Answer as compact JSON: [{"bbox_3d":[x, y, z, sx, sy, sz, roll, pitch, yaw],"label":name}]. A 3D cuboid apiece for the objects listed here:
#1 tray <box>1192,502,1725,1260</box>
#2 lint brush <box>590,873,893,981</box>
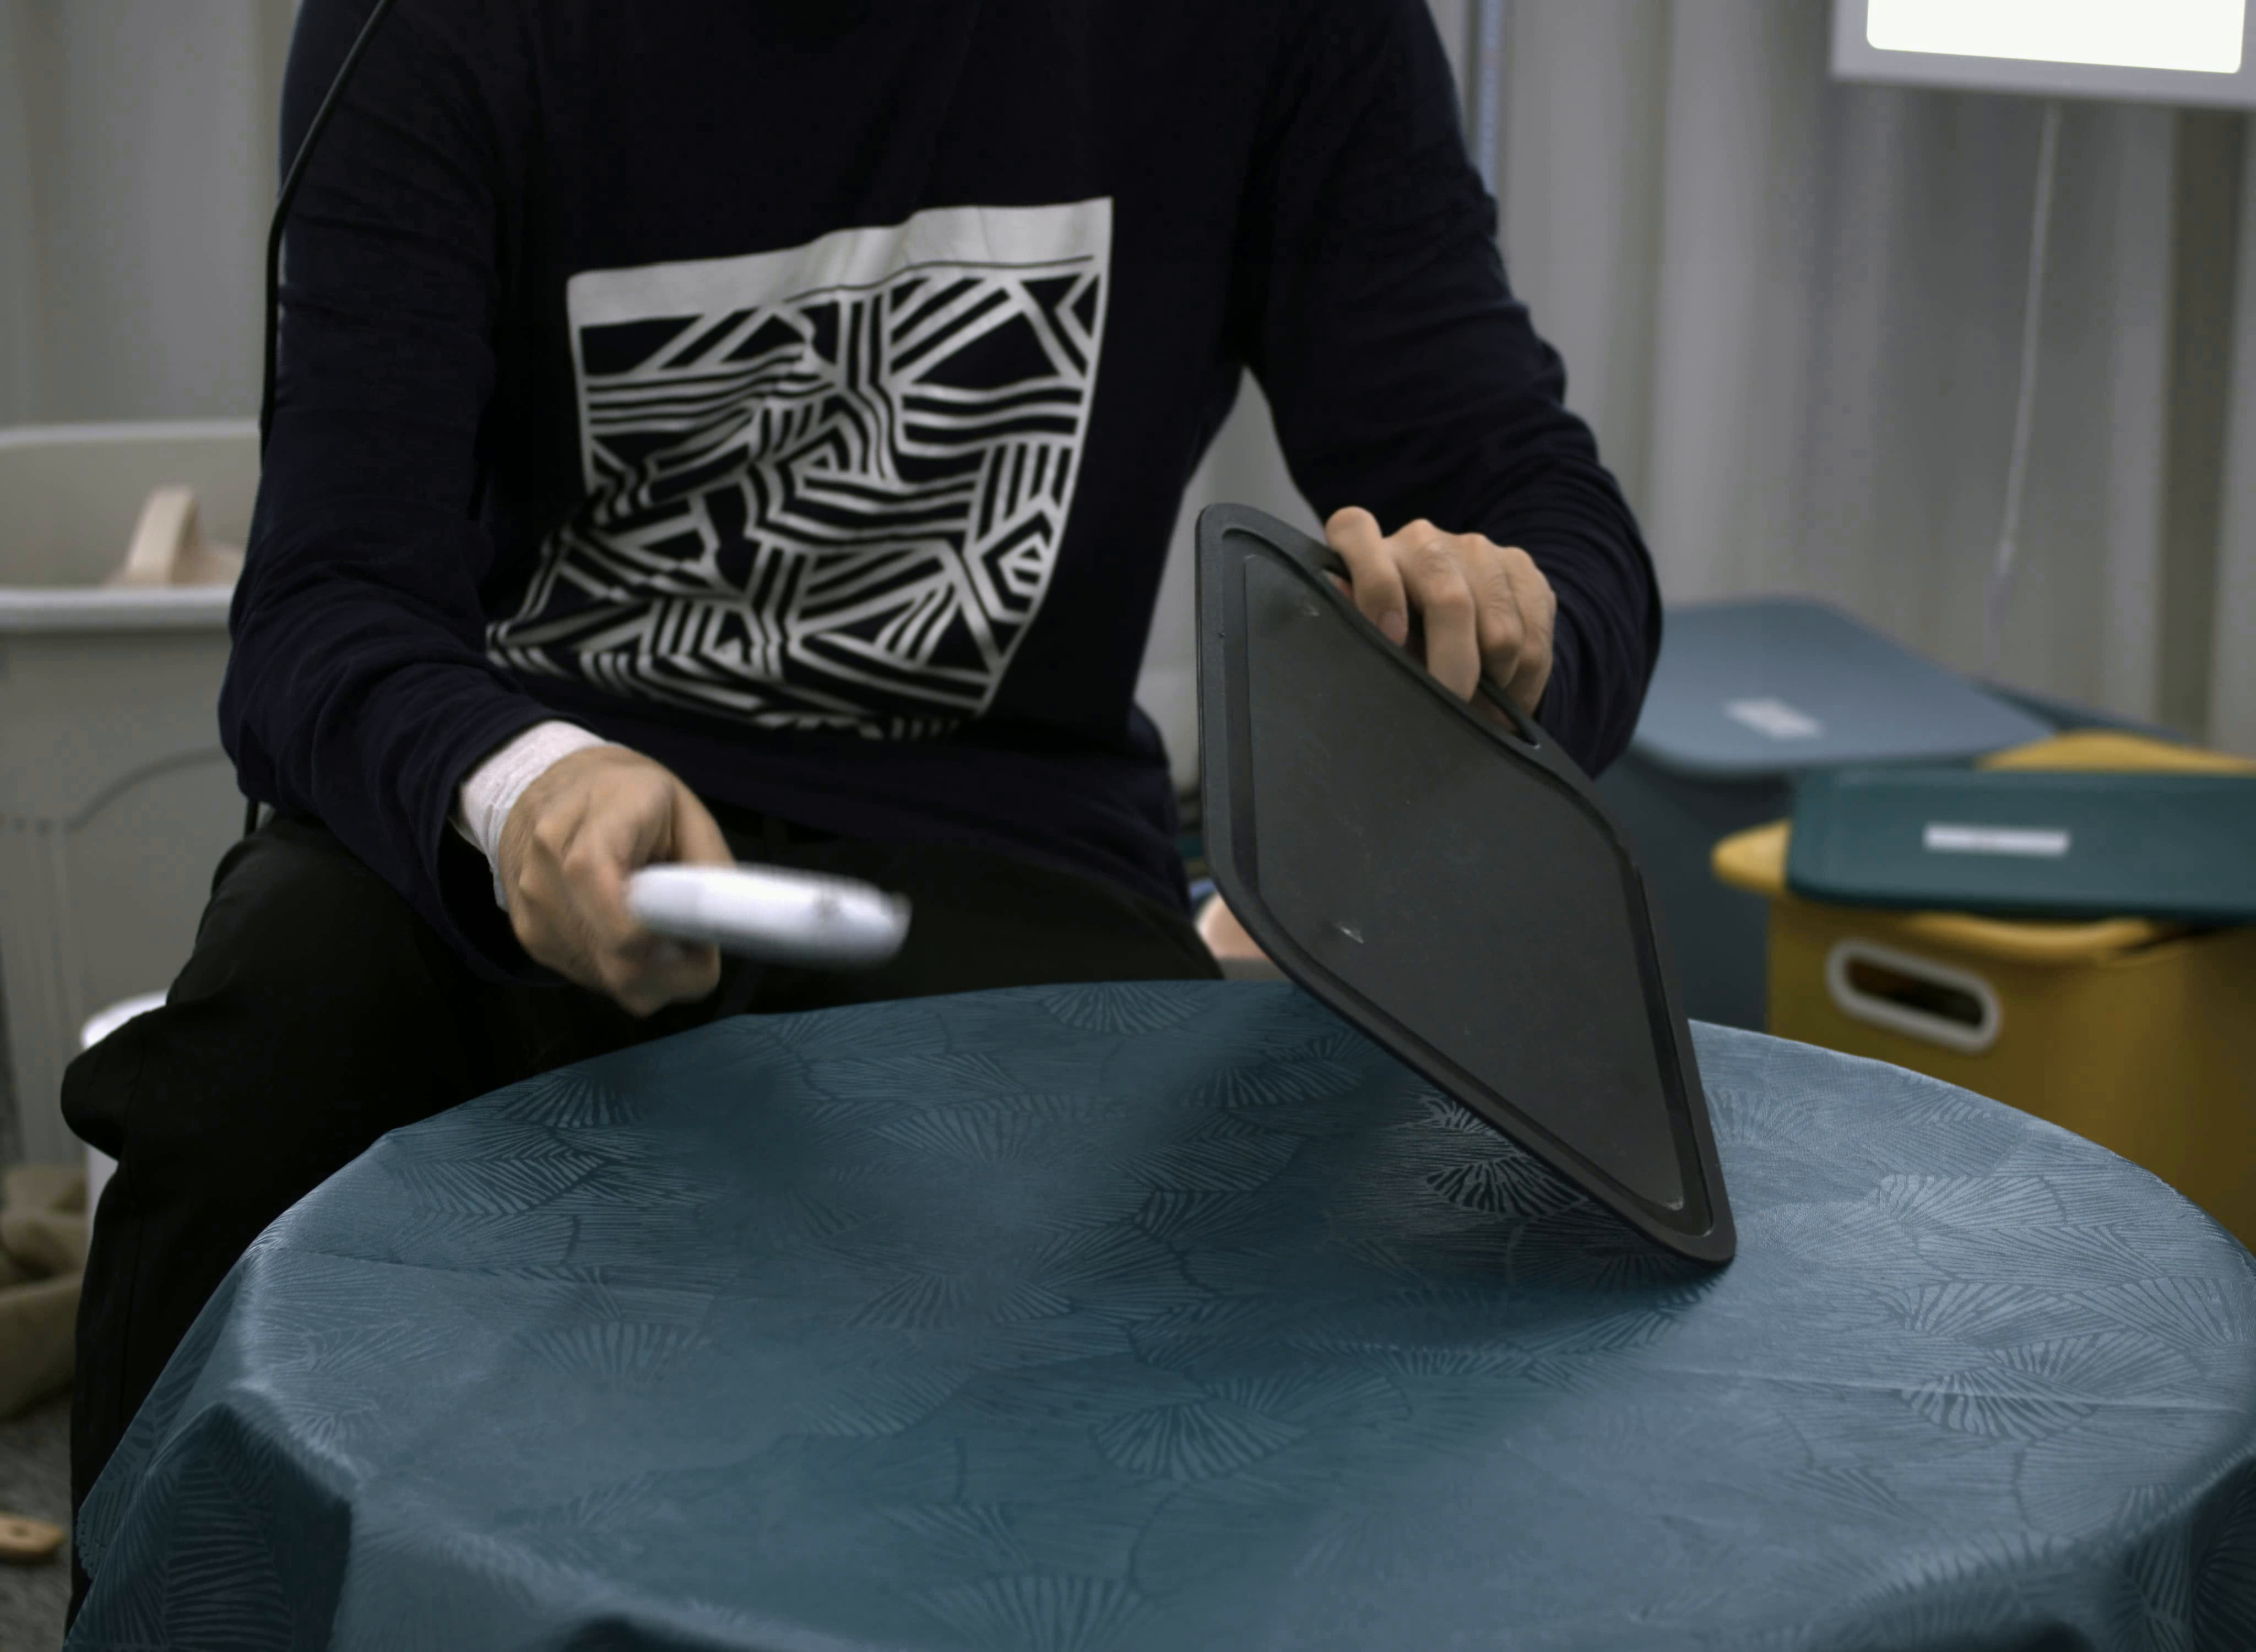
[{"bbox_3d":[0.101,0.005,1.656,0.212,0.010,0.323,38,22,-18],"label":"tray"},{"bbox_3d":[-0.126,0.028,1.596,0.060,0.021,0.307,12,-2,-15],"label":"lint brush"}]
